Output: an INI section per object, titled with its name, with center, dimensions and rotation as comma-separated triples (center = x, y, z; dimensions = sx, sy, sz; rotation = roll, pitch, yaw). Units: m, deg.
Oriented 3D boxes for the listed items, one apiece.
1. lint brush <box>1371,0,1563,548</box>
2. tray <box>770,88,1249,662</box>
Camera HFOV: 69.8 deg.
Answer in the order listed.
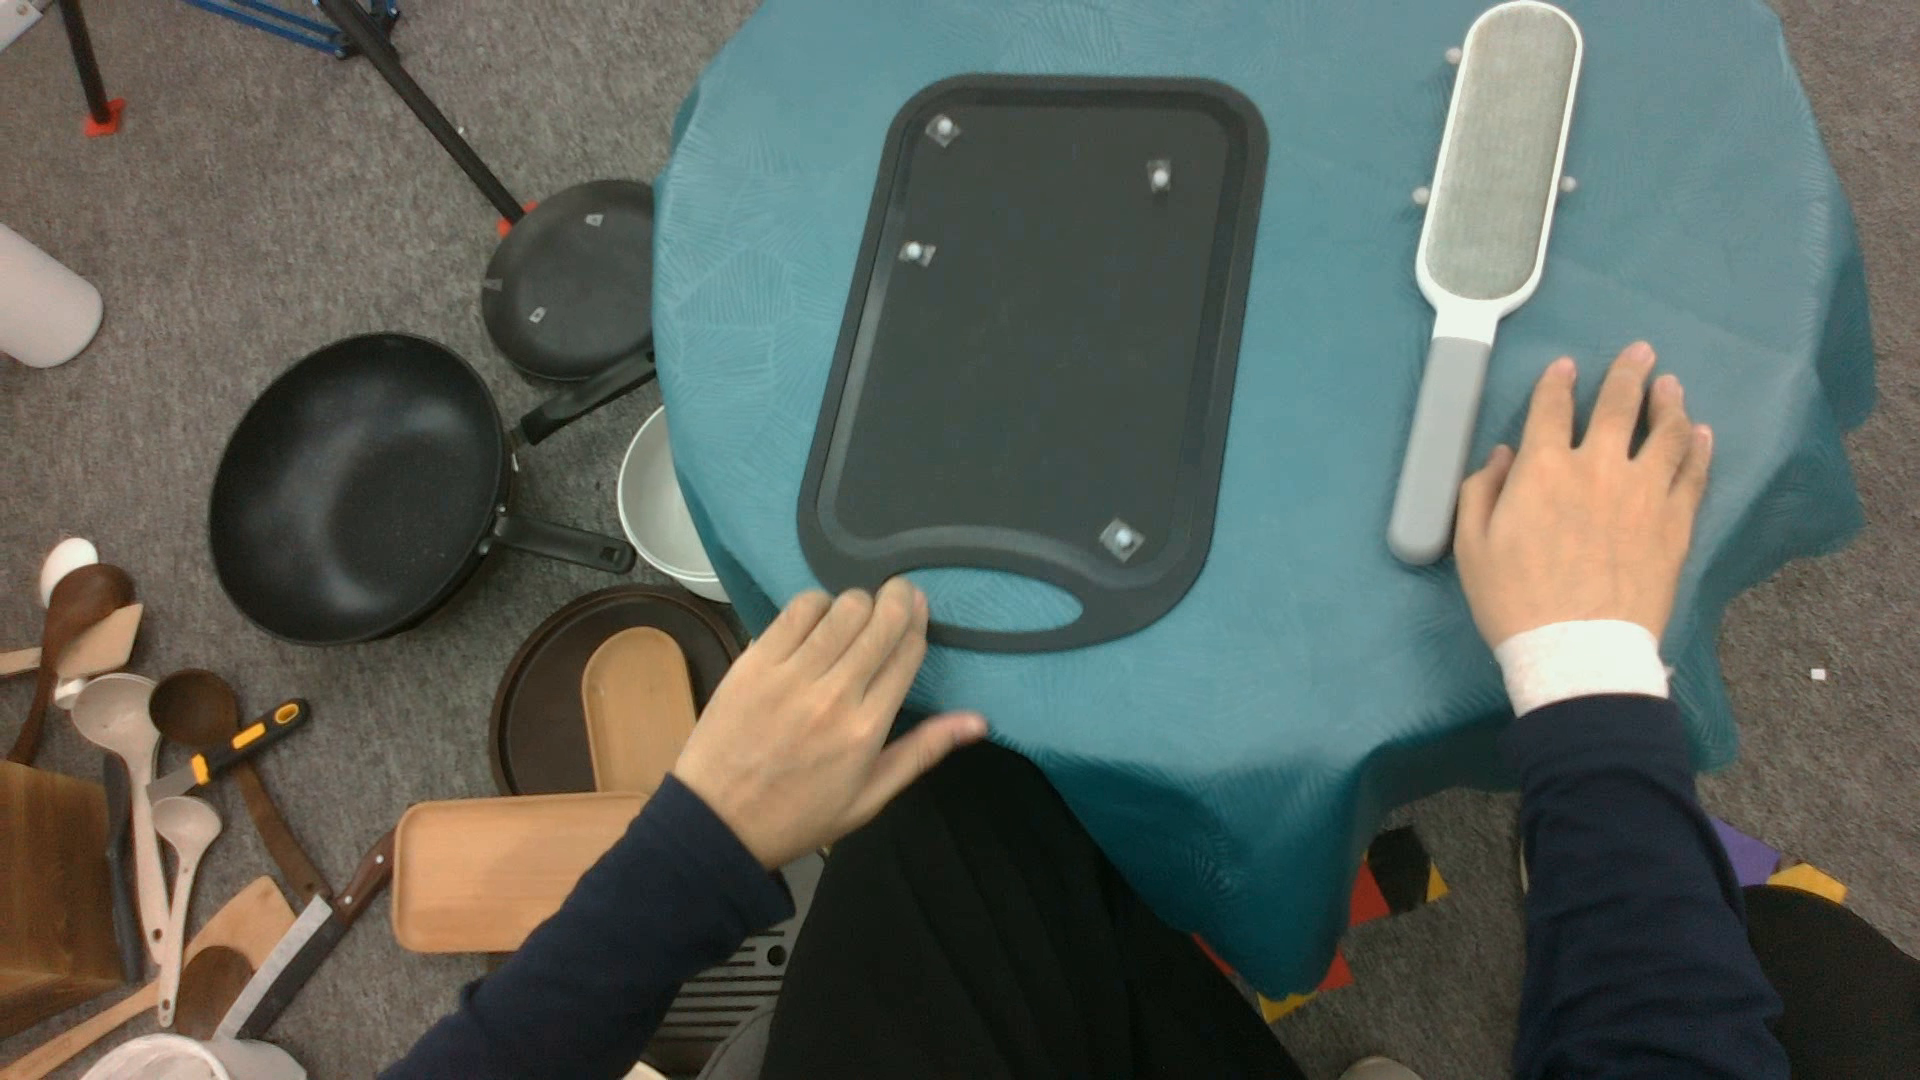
[lint brush]
center = 0.239, -0.138, 0.664
dimensions = 0.060, 0.021, 0.310
rotation = 14, 72, 11
[tray]
center = 0.026, -0.095, 0.701
dimensions = 0.211, 0.010, 0.326
rotation = 8, 70, 14
